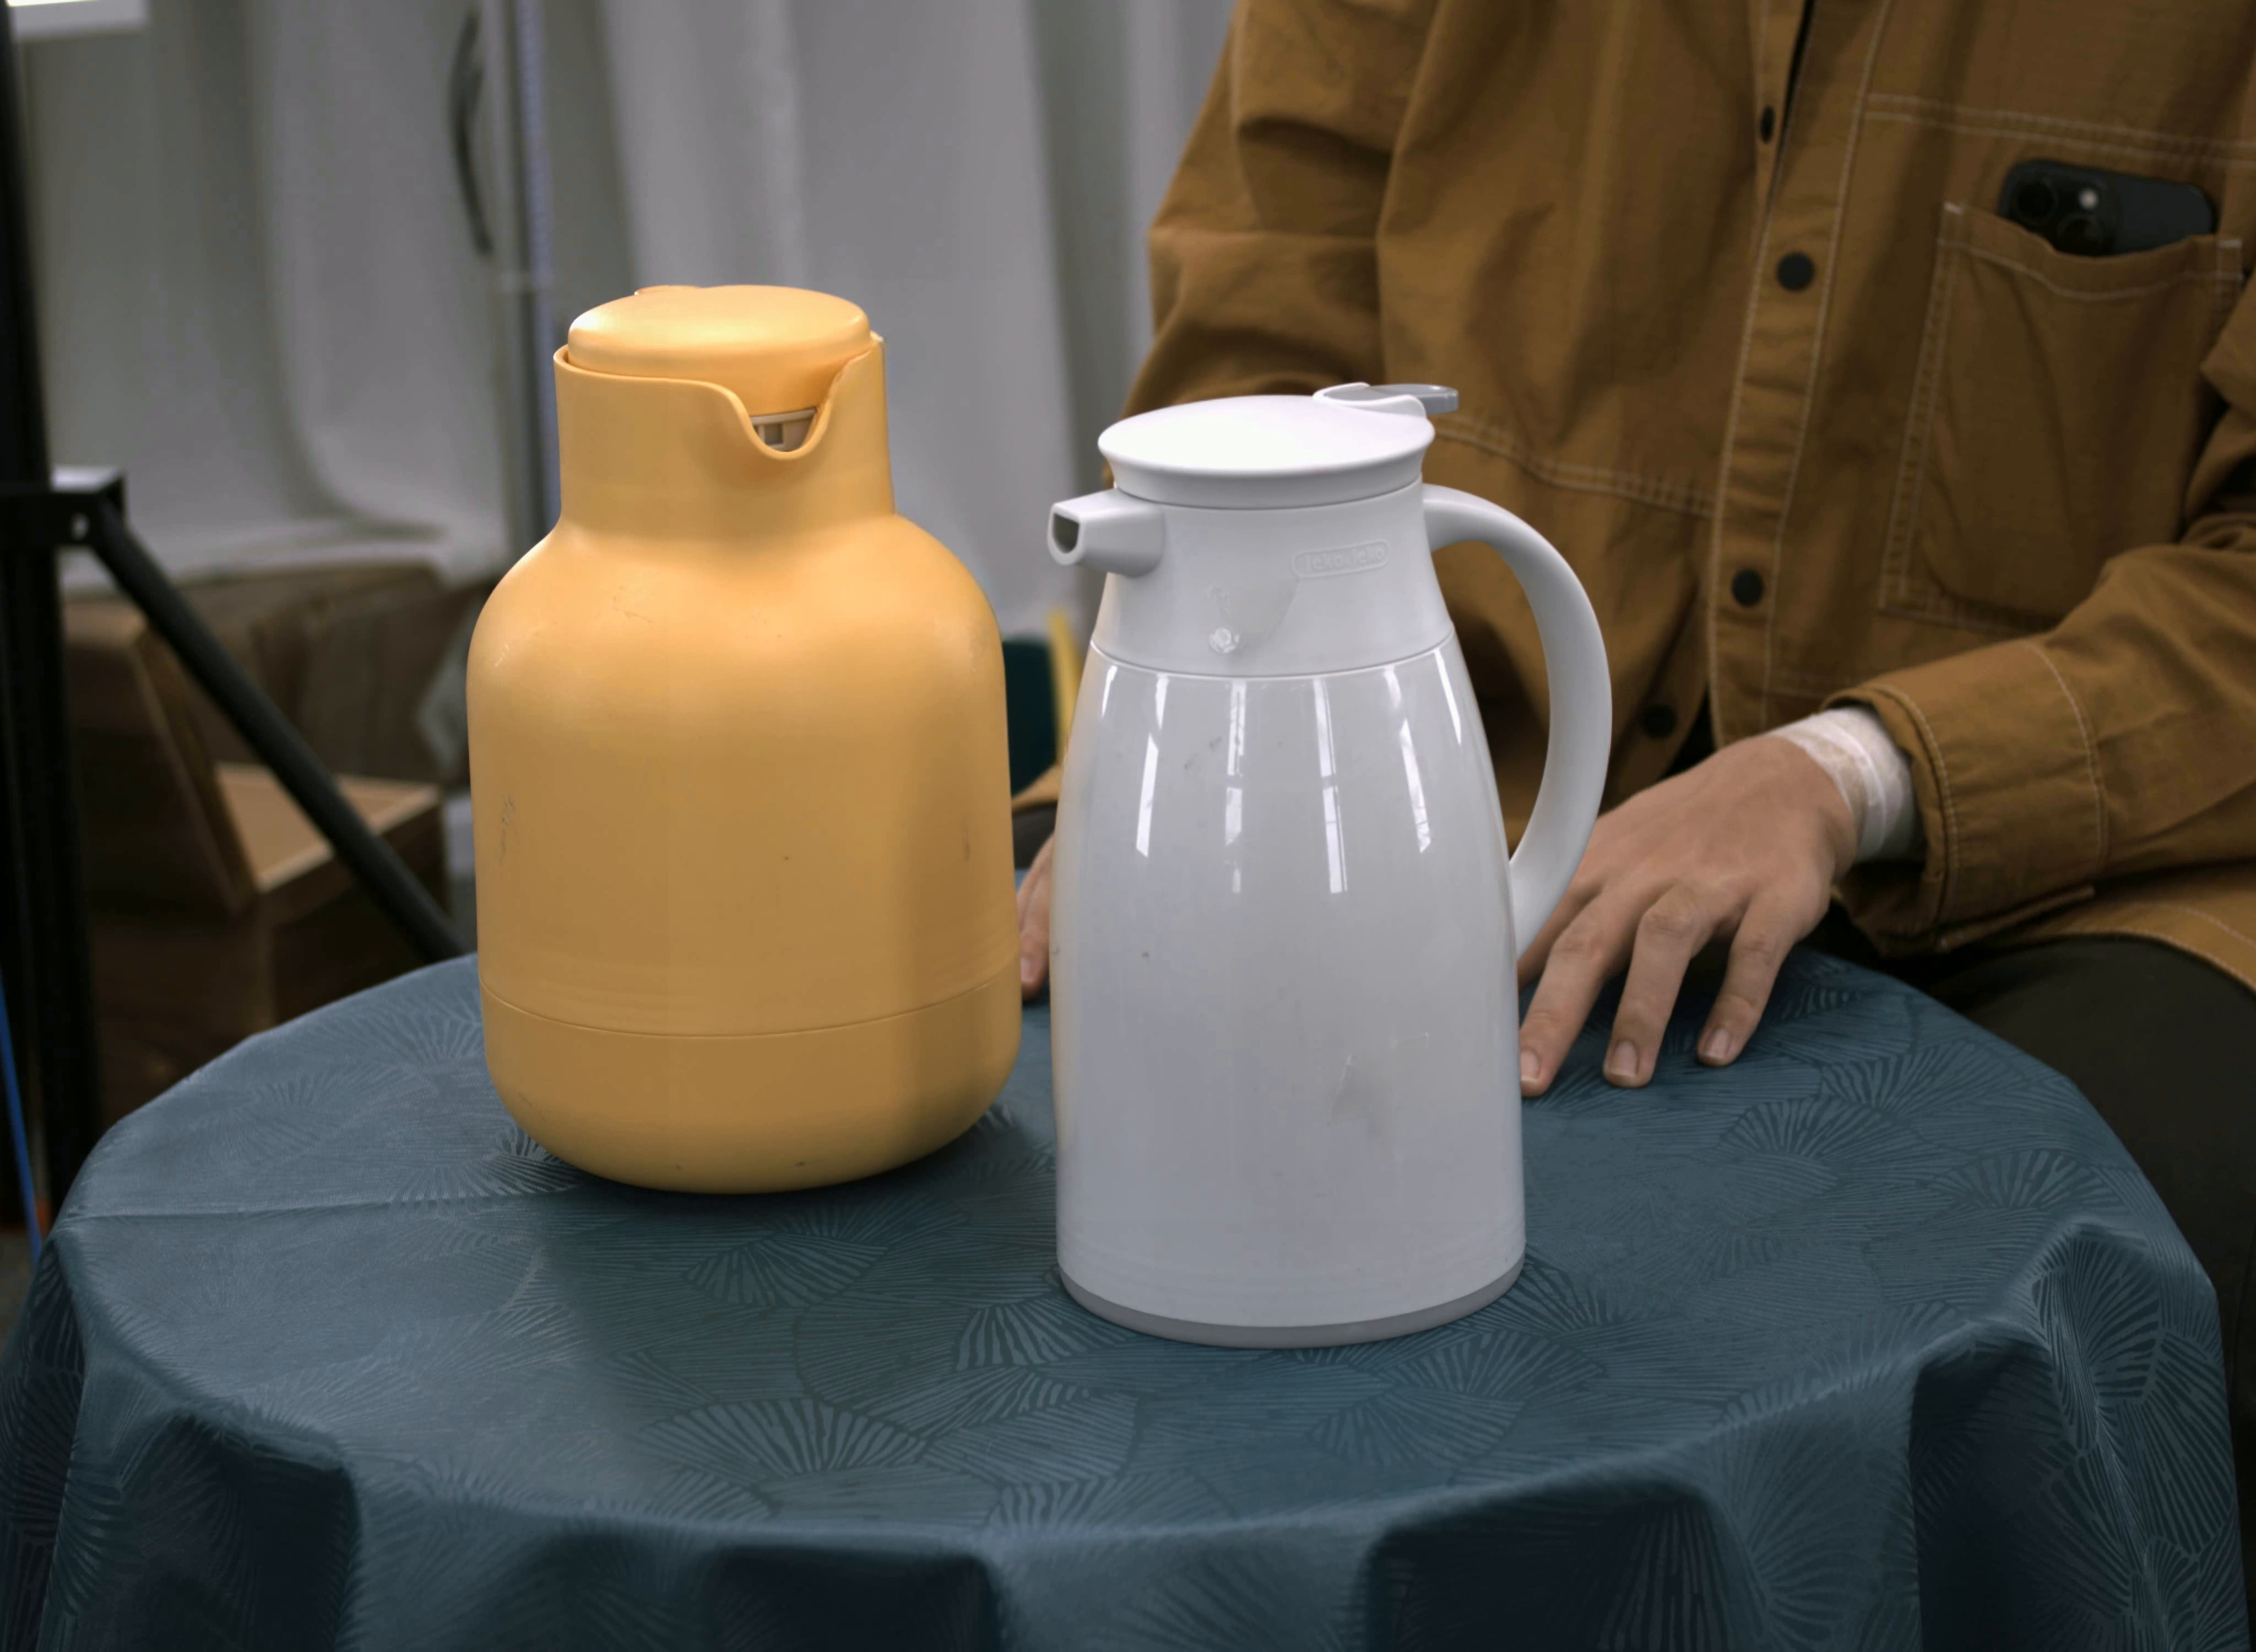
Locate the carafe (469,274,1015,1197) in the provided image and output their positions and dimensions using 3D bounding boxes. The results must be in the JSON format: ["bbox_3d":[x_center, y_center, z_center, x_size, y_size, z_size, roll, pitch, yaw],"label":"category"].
[{"bbox_3d":[-0.120,-0.035,1.607,0.161,0.260,0.205,-4,16,-16],"label":"carafe"}]

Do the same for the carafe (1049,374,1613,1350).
[{"bbox_3d":[0.058,0.002,1.467,0.164,0.248,0.135,-9,16,-25],"label":"carafe"}]
